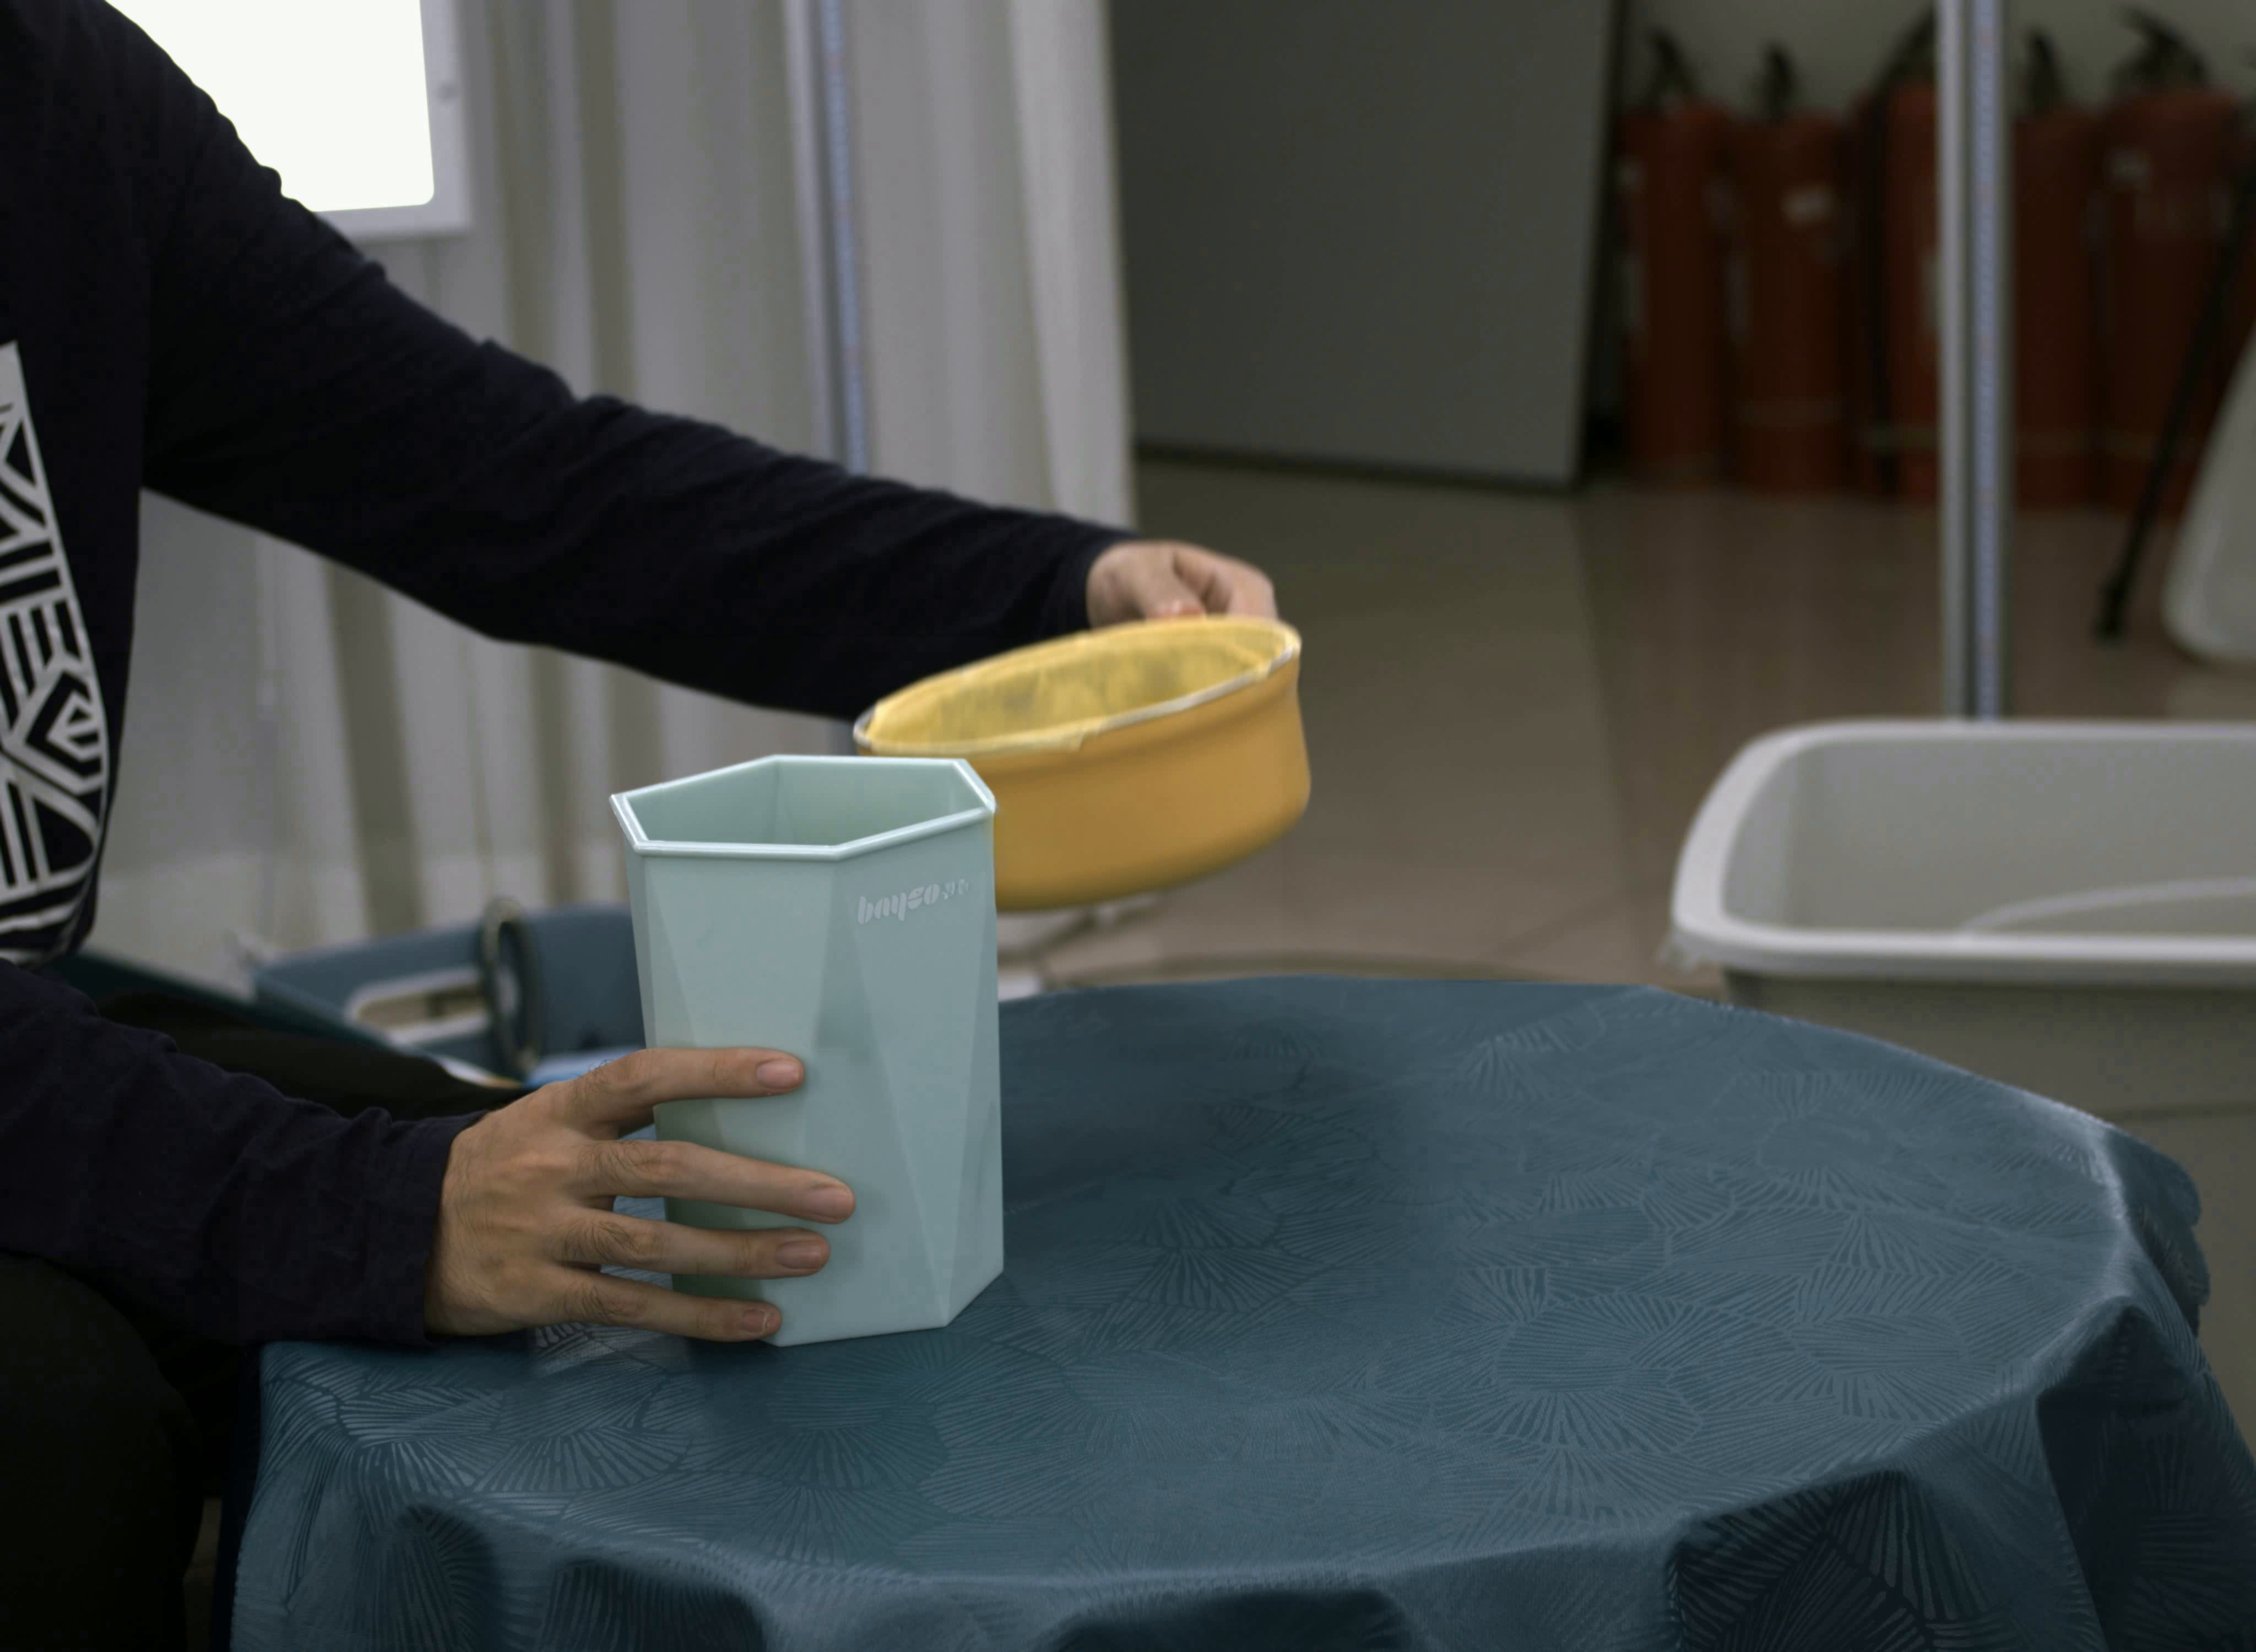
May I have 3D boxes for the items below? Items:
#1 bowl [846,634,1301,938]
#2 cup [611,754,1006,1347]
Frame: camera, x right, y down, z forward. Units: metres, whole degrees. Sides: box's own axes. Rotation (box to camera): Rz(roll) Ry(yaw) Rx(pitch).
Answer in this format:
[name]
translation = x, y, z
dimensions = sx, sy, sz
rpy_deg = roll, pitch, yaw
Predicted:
[bowl]
translation = -0.007, -0.015, 1.816
dimensions = 0.153, 0.075, 0.177
rpy_deg = -10, 13, 25
[cup]
translation = -0.094, 0.068, 1.674
dimensions = 0.128, 0.165, 0.116
rpy_deg = -14, 15, -42
